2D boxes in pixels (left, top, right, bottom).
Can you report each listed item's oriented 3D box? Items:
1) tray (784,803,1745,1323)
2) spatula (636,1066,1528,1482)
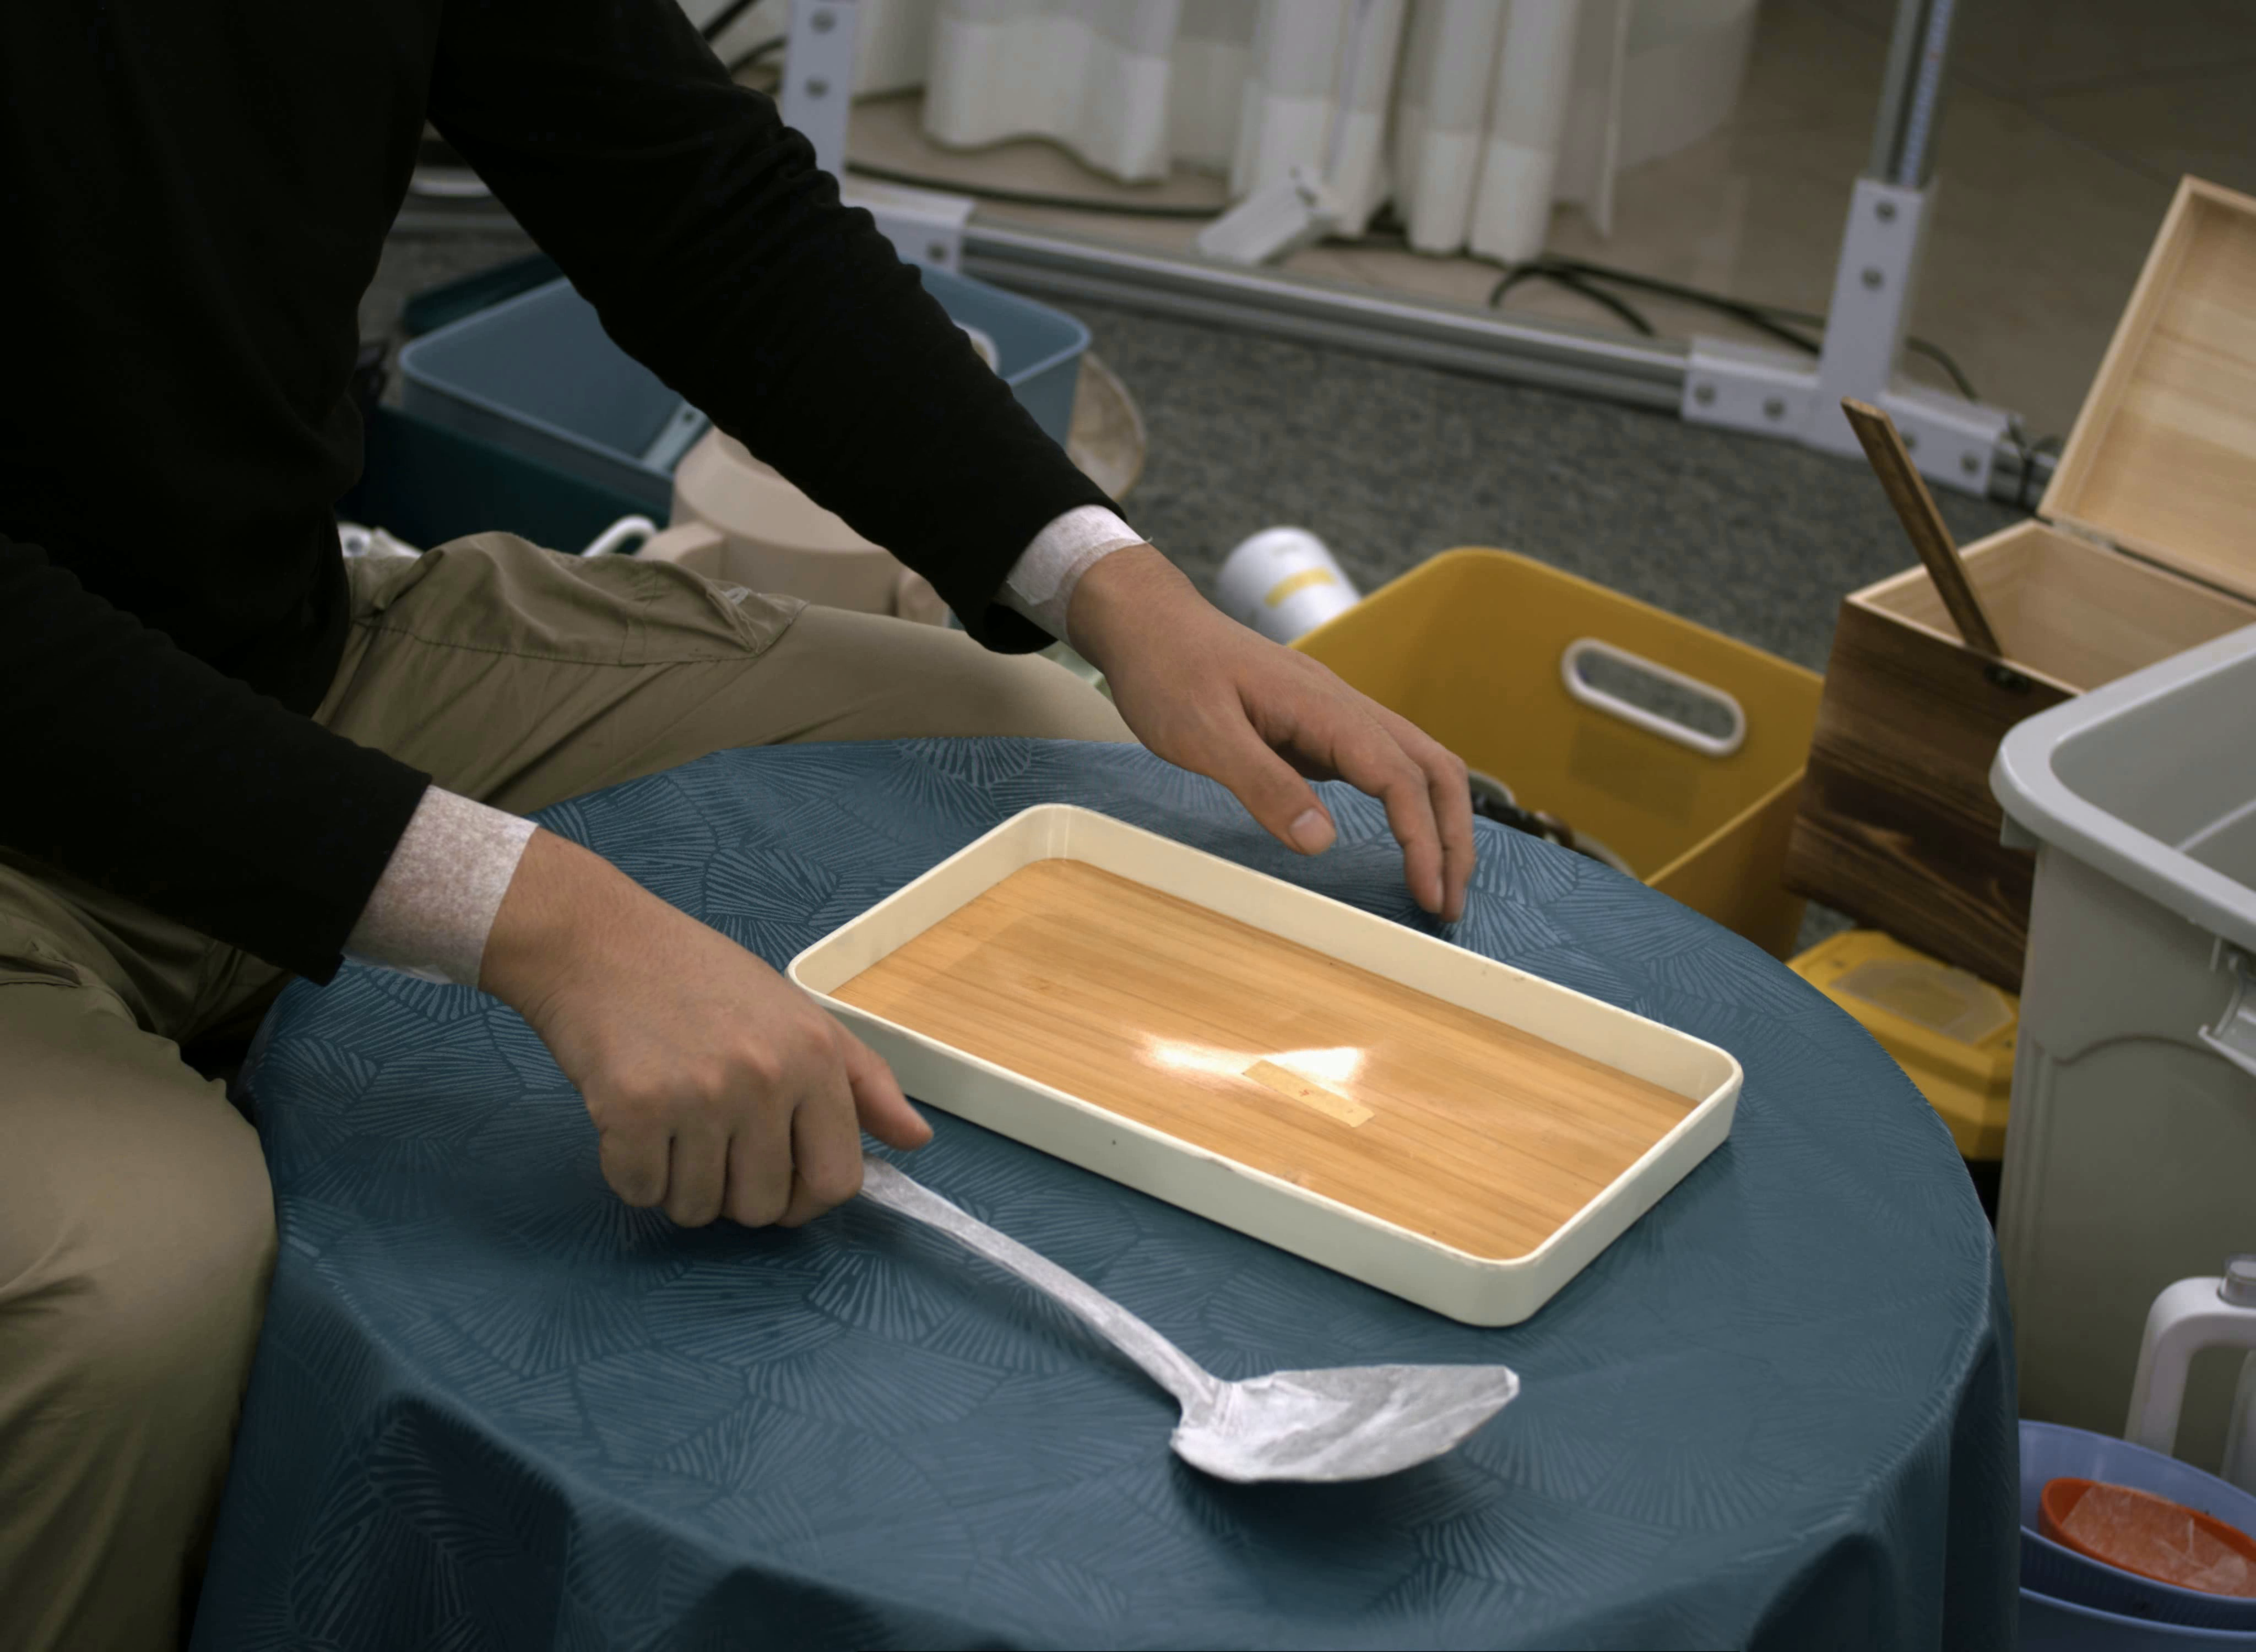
[{"bbox_3d":[0.047,0.078,1.871,0.302,0.027,0.191,21,30,26],"label":"tray"},{"bbox_3d":[-0.035,0.137,1.726,0.367,0.044,0.098,26,33,33],"label":"spatula"}]
